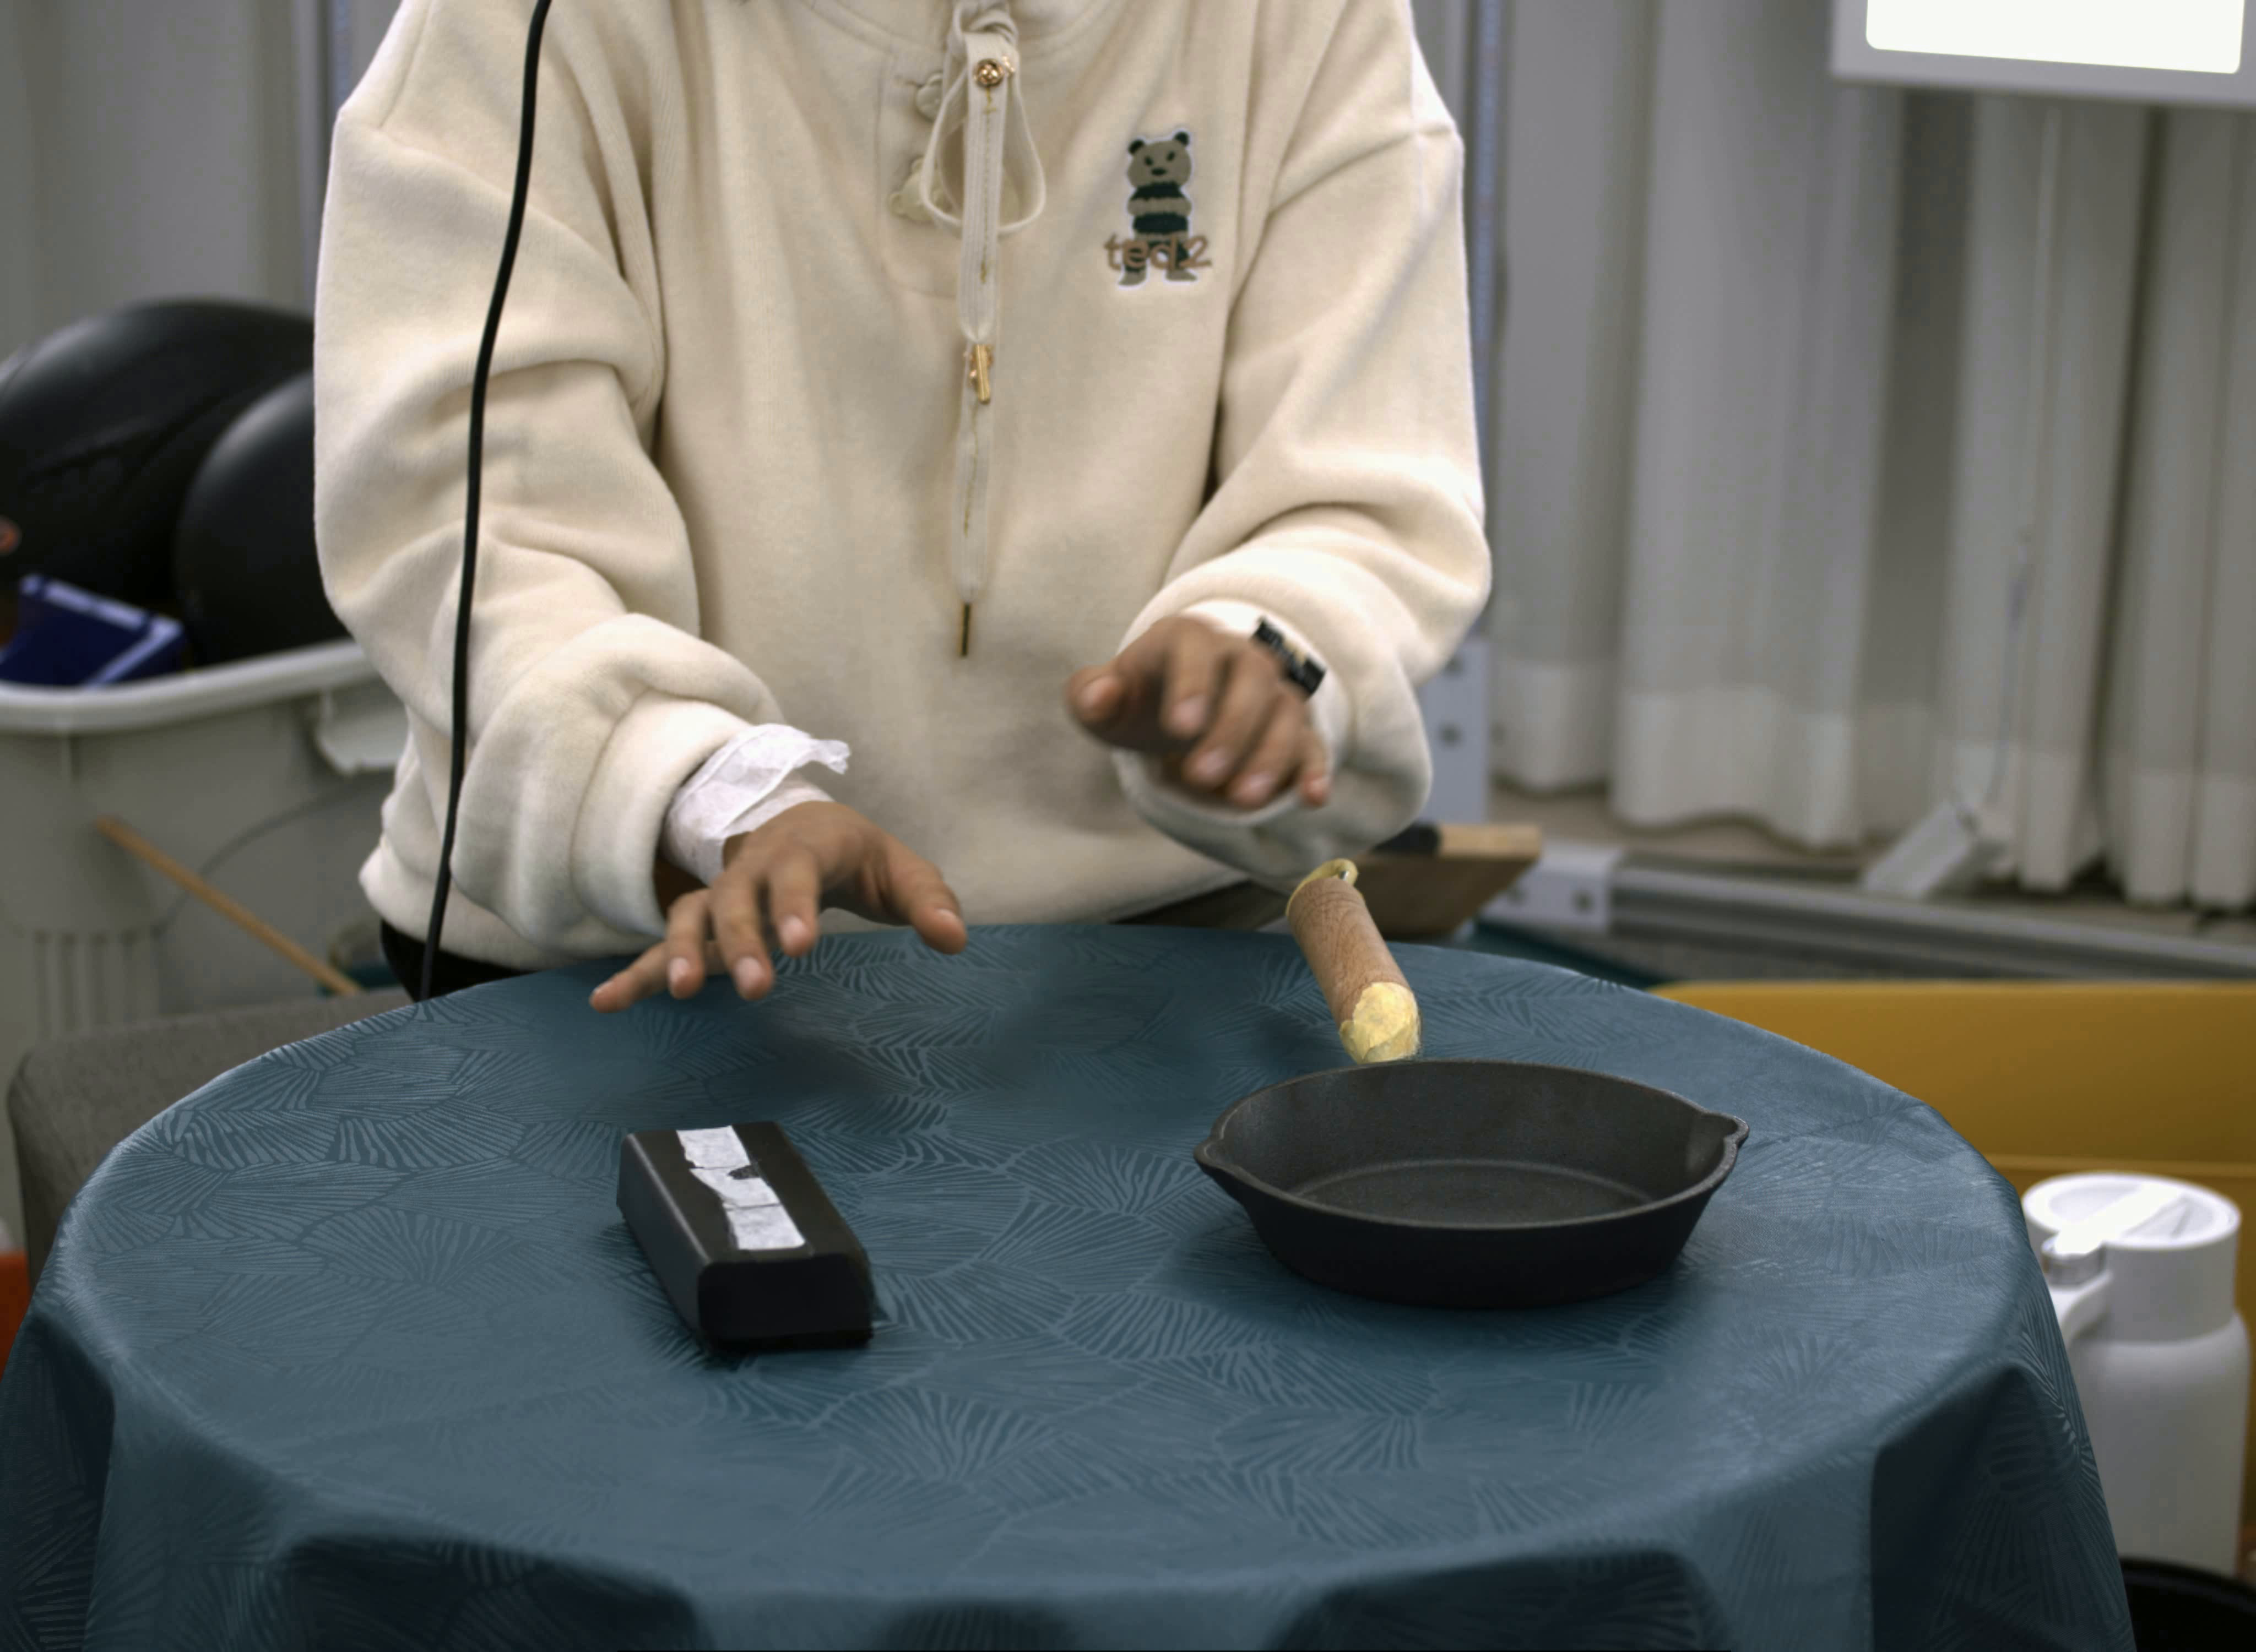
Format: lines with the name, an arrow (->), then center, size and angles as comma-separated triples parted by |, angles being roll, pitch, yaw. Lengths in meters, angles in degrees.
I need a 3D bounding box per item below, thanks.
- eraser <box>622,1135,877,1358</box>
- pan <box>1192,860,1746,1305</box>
eraser -> -0.111, 0.121, 1.535 | 0.053, 0.030, 0.124 | -3, 14, -15
pan -> 0.091, 0.077, 1.655 | 0.169, 0.050, 0.321 | -3, 17, -8
